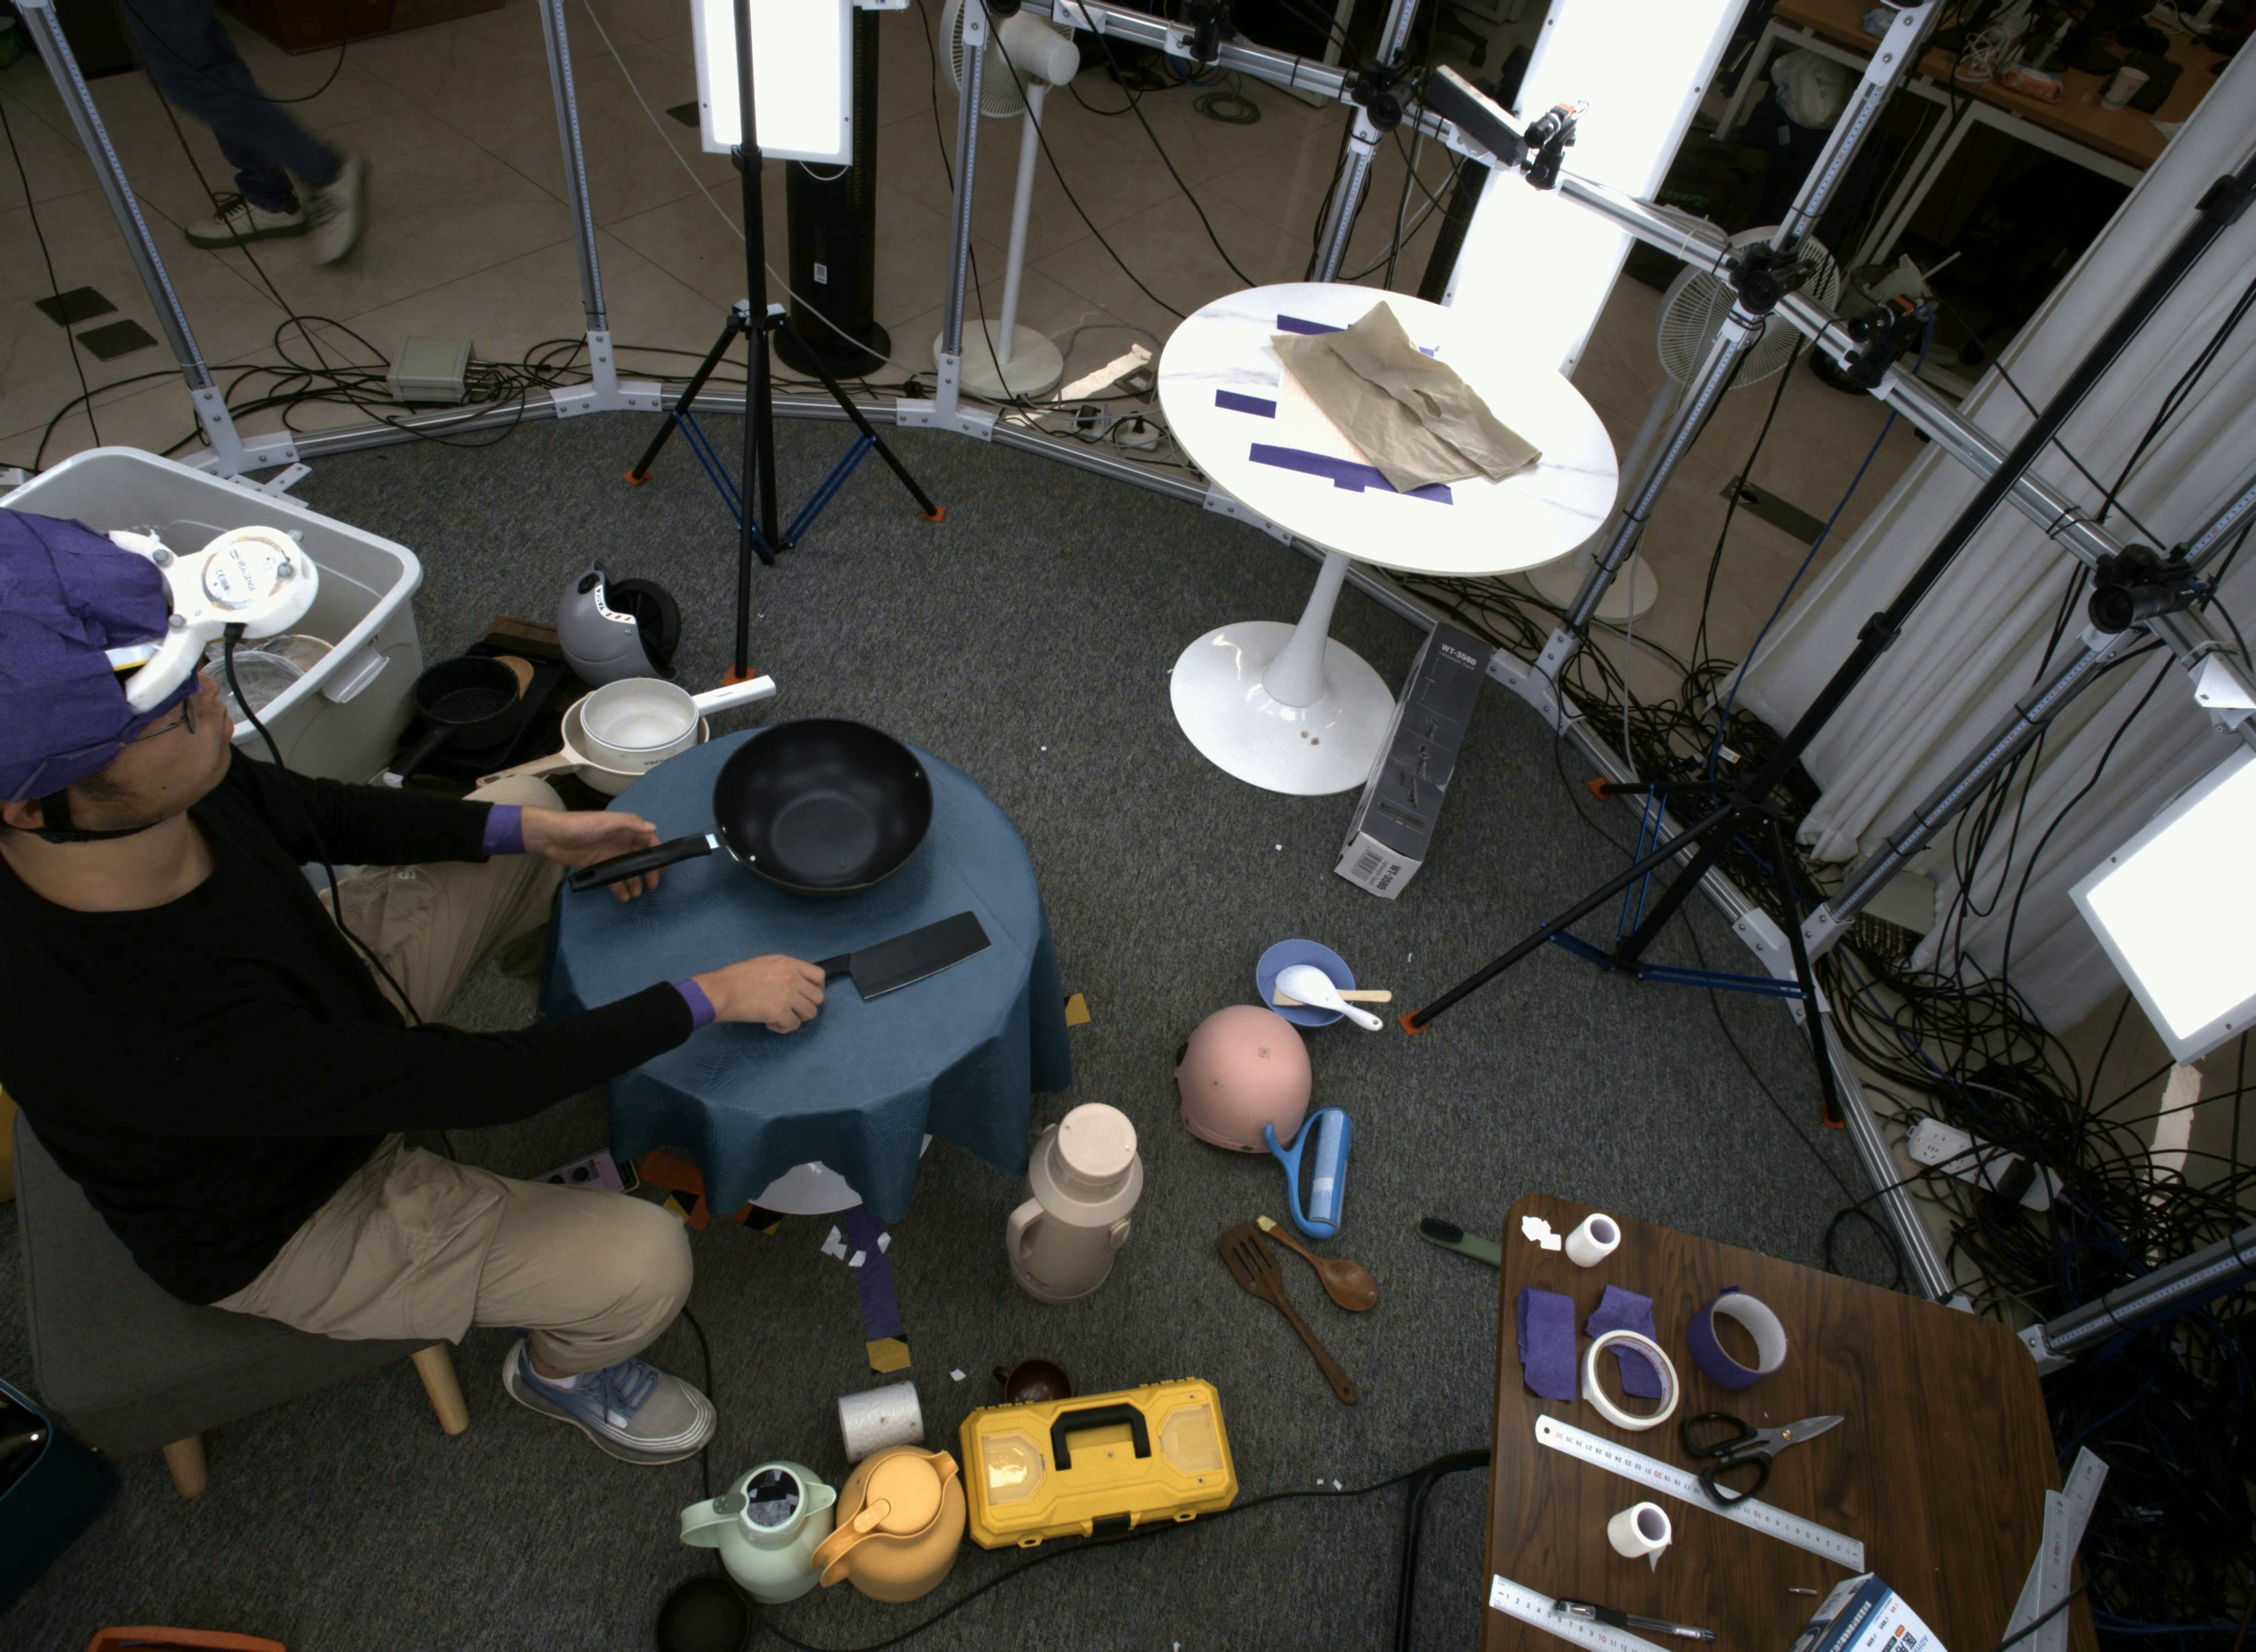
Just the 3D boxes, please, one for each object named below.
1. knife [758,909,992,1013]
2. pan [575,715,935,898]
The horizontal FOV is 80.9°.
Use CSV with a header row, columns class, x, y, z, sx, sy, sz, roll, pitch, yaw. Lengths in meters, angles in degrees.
class,x,y,z,sx,sy,sz,roll,pitch,yaw
knife,-0.313,0.171,1.614,0.304,0.021,0.079,-16,59,-27
pan,-0.469,0.015,1.645,0.465,0.088,0.281,-20,61,-26
